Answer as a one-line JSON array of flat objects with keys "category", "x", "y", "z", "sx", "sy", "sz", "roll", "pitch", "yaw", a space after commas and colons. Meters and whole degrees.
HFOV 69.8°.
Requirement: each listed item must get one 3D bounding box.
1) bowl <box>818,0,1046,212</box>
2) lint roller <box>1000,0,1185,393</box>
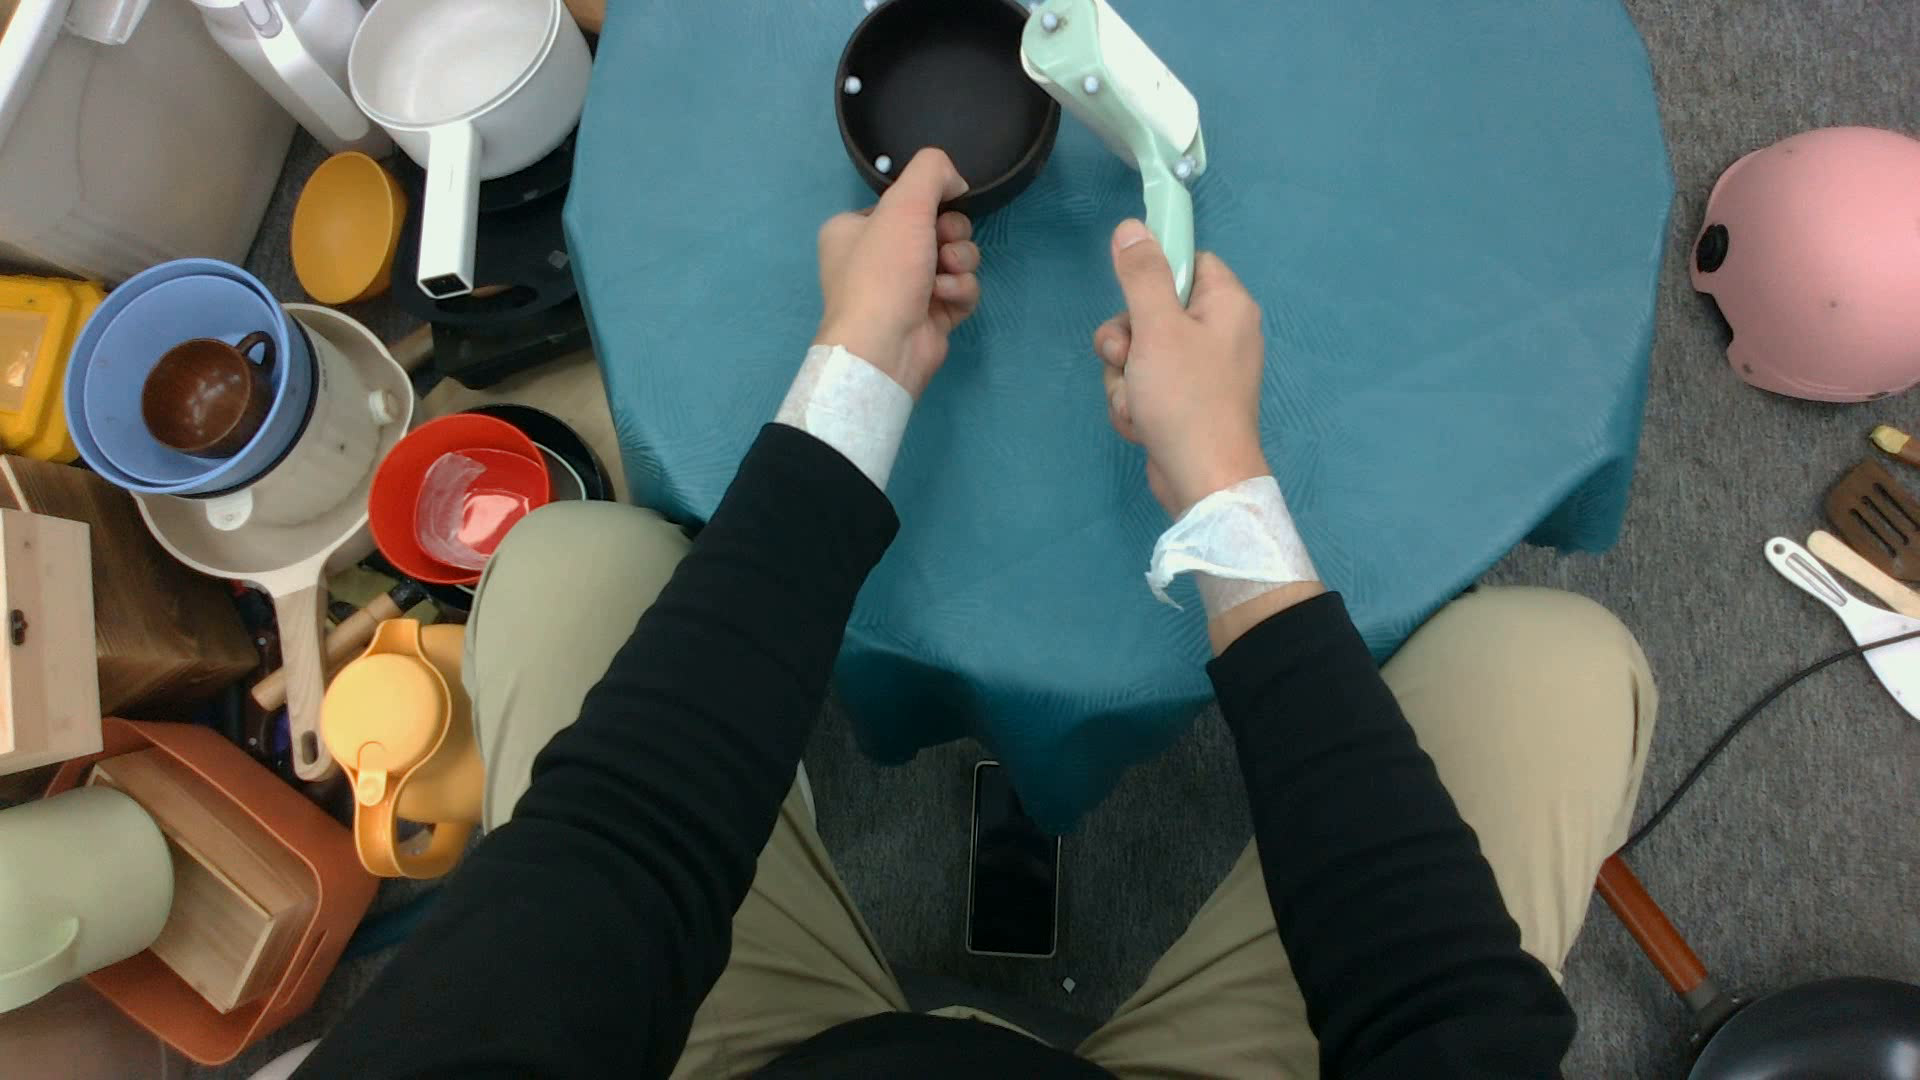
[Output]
[{"category": "bowl", "x": -0.014, "y": -0.230, "z": 0.729, "sx": 0.118, "sy": 0.070, "sz": 0.118, "roll": 0, "pitch": 85, "yaw": 1}, {"category": "lint roller", "x": 0.076, "y": -0.166, "z": 0.661, "sx": 0.048, "sy": 0.117, "sz": 0.198, "roll": -21, "pitch": 67, "yaw": 30}]
